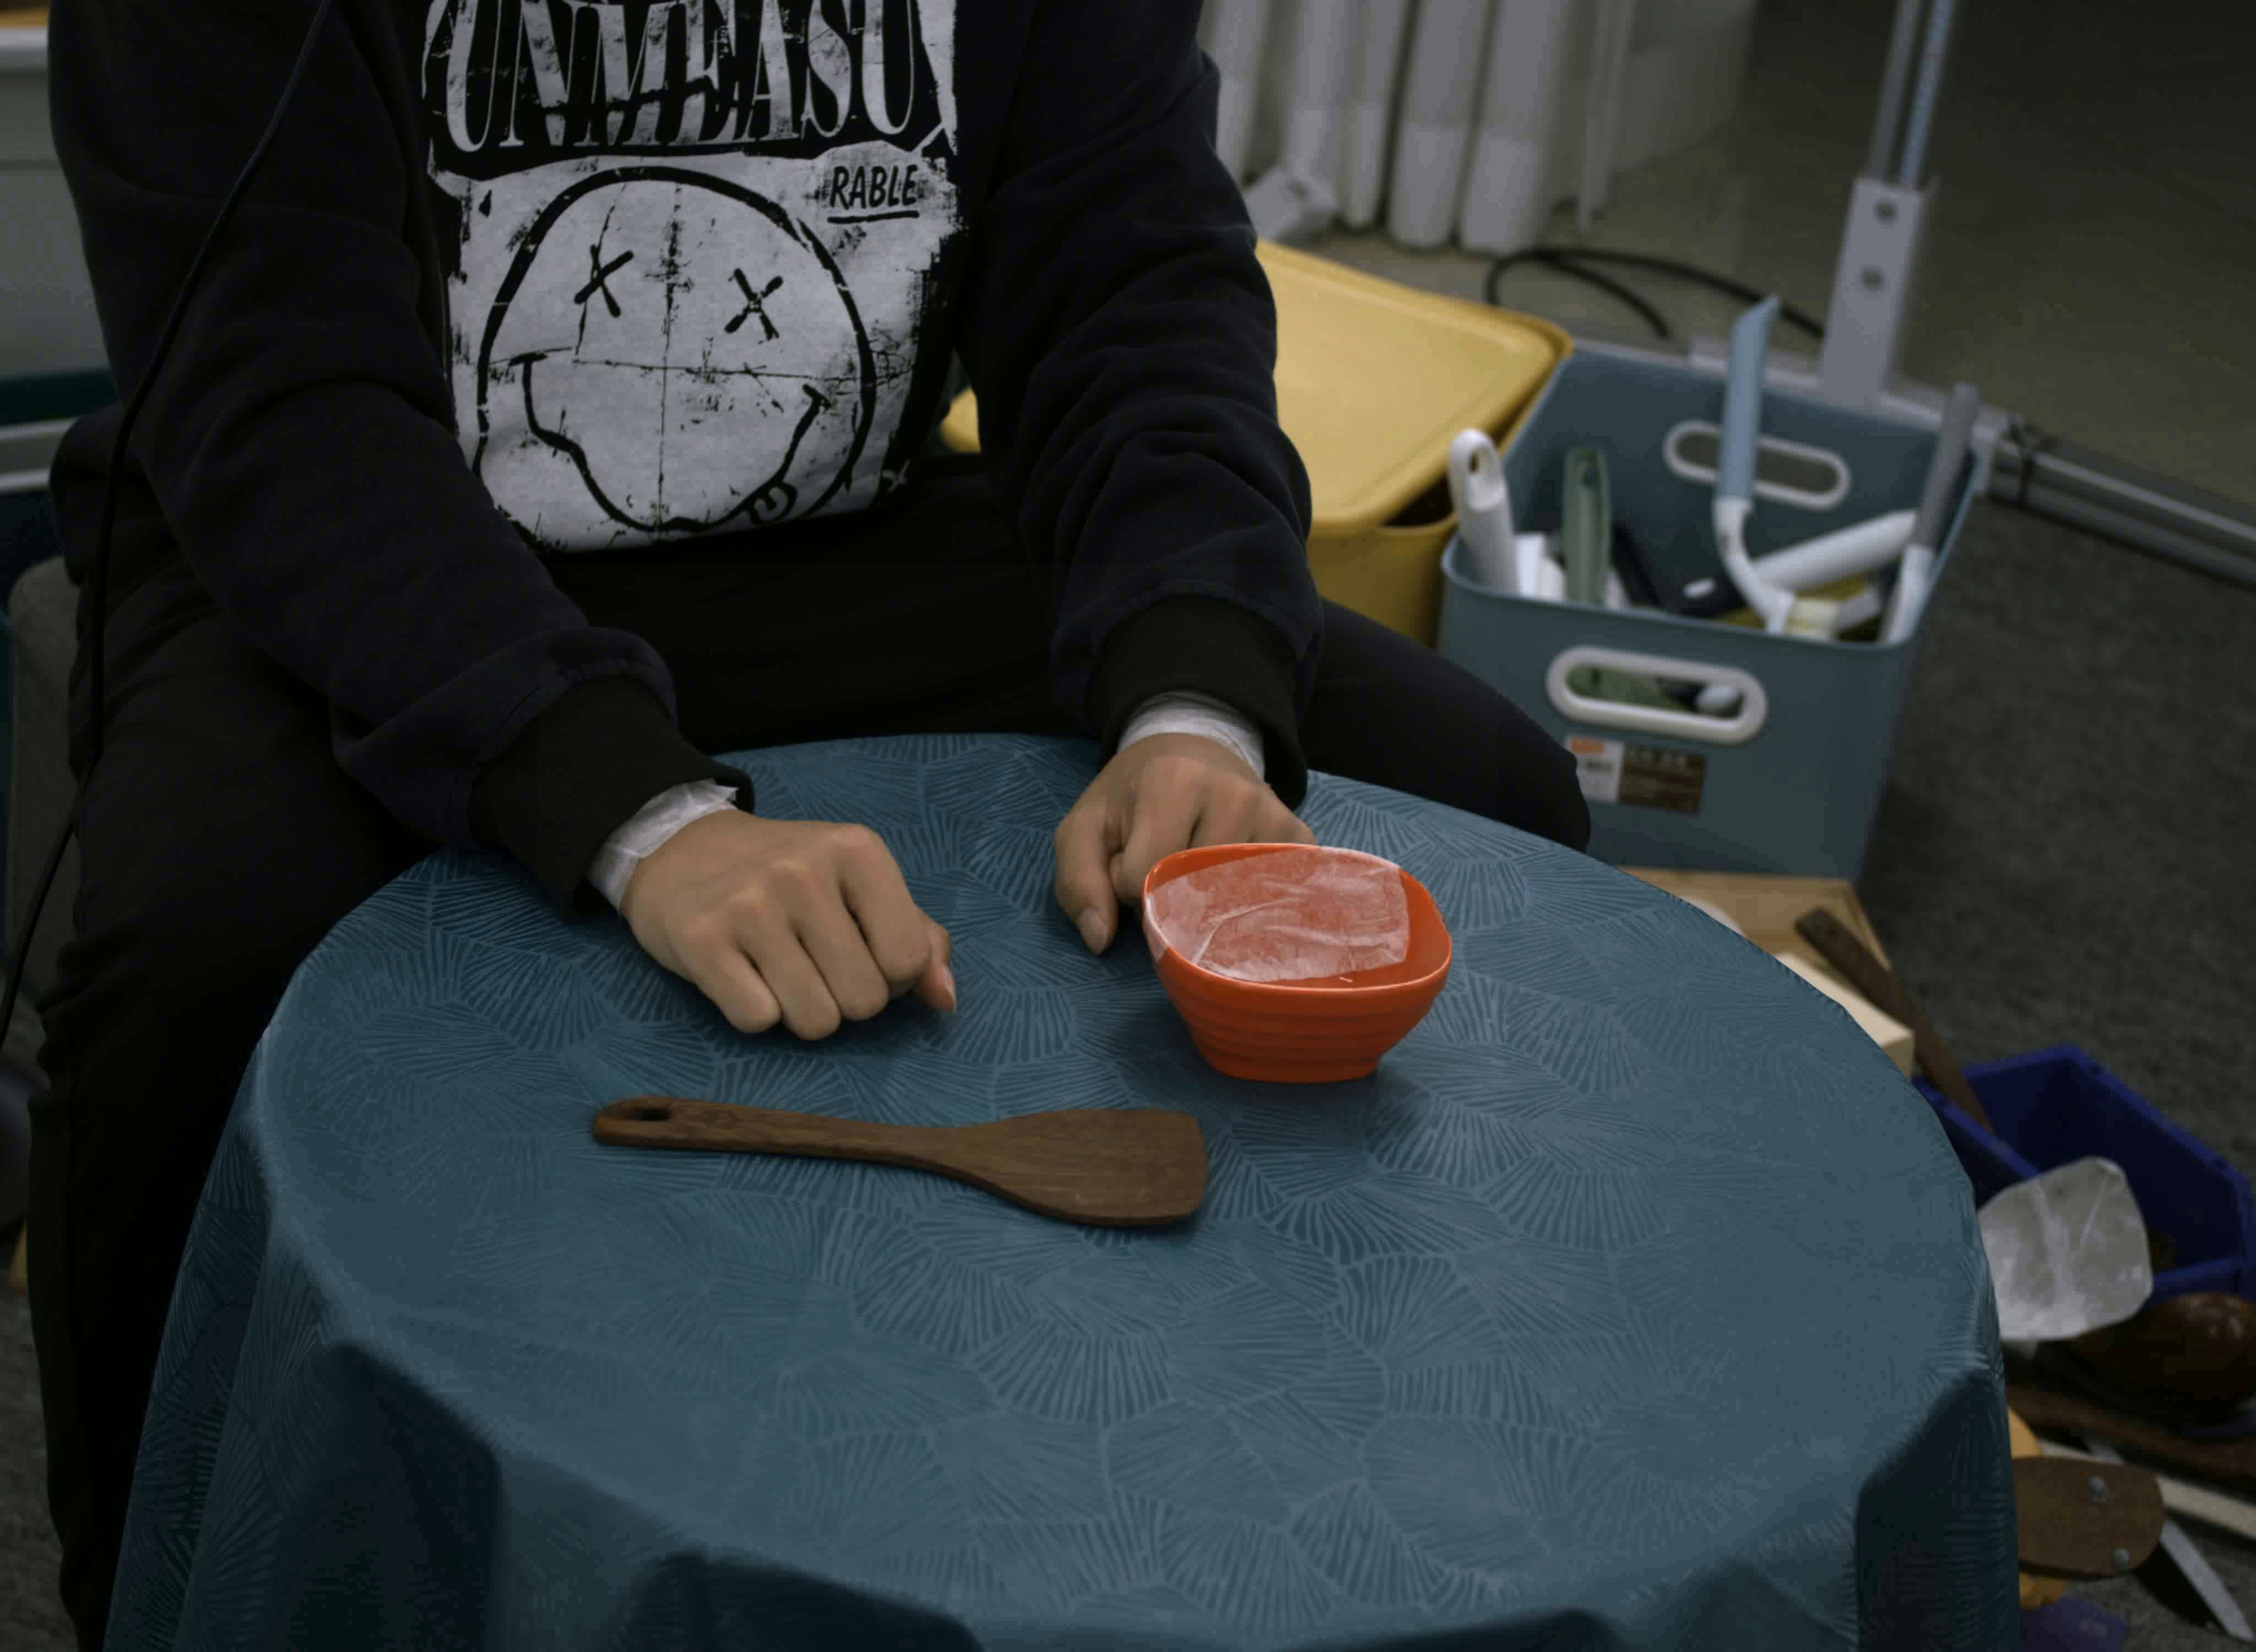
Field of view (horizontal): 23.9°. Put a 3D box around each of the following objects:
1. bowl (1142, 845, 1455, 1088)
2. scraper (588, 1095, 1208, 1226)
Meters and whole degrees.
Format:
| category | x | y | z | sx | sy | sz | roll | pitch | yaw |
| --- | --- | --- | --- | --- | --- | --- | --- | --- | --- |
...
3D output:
| category | x | y | z | sx | sy | sz | roll | pitch | yaw |
| --- | --- | --- | --- | --- | --- | --- | --- | --- | --- |
| bowl | 0.058 | 0.055 | 1.896 | 0.118 | 0.051 | 0.119 | 5 | 28 | -3 |
| scraper | -0.078 | 0.109 | 1.804 | 0.210 | 0.011 | 0.076 | 6 | 26 | -1 |
